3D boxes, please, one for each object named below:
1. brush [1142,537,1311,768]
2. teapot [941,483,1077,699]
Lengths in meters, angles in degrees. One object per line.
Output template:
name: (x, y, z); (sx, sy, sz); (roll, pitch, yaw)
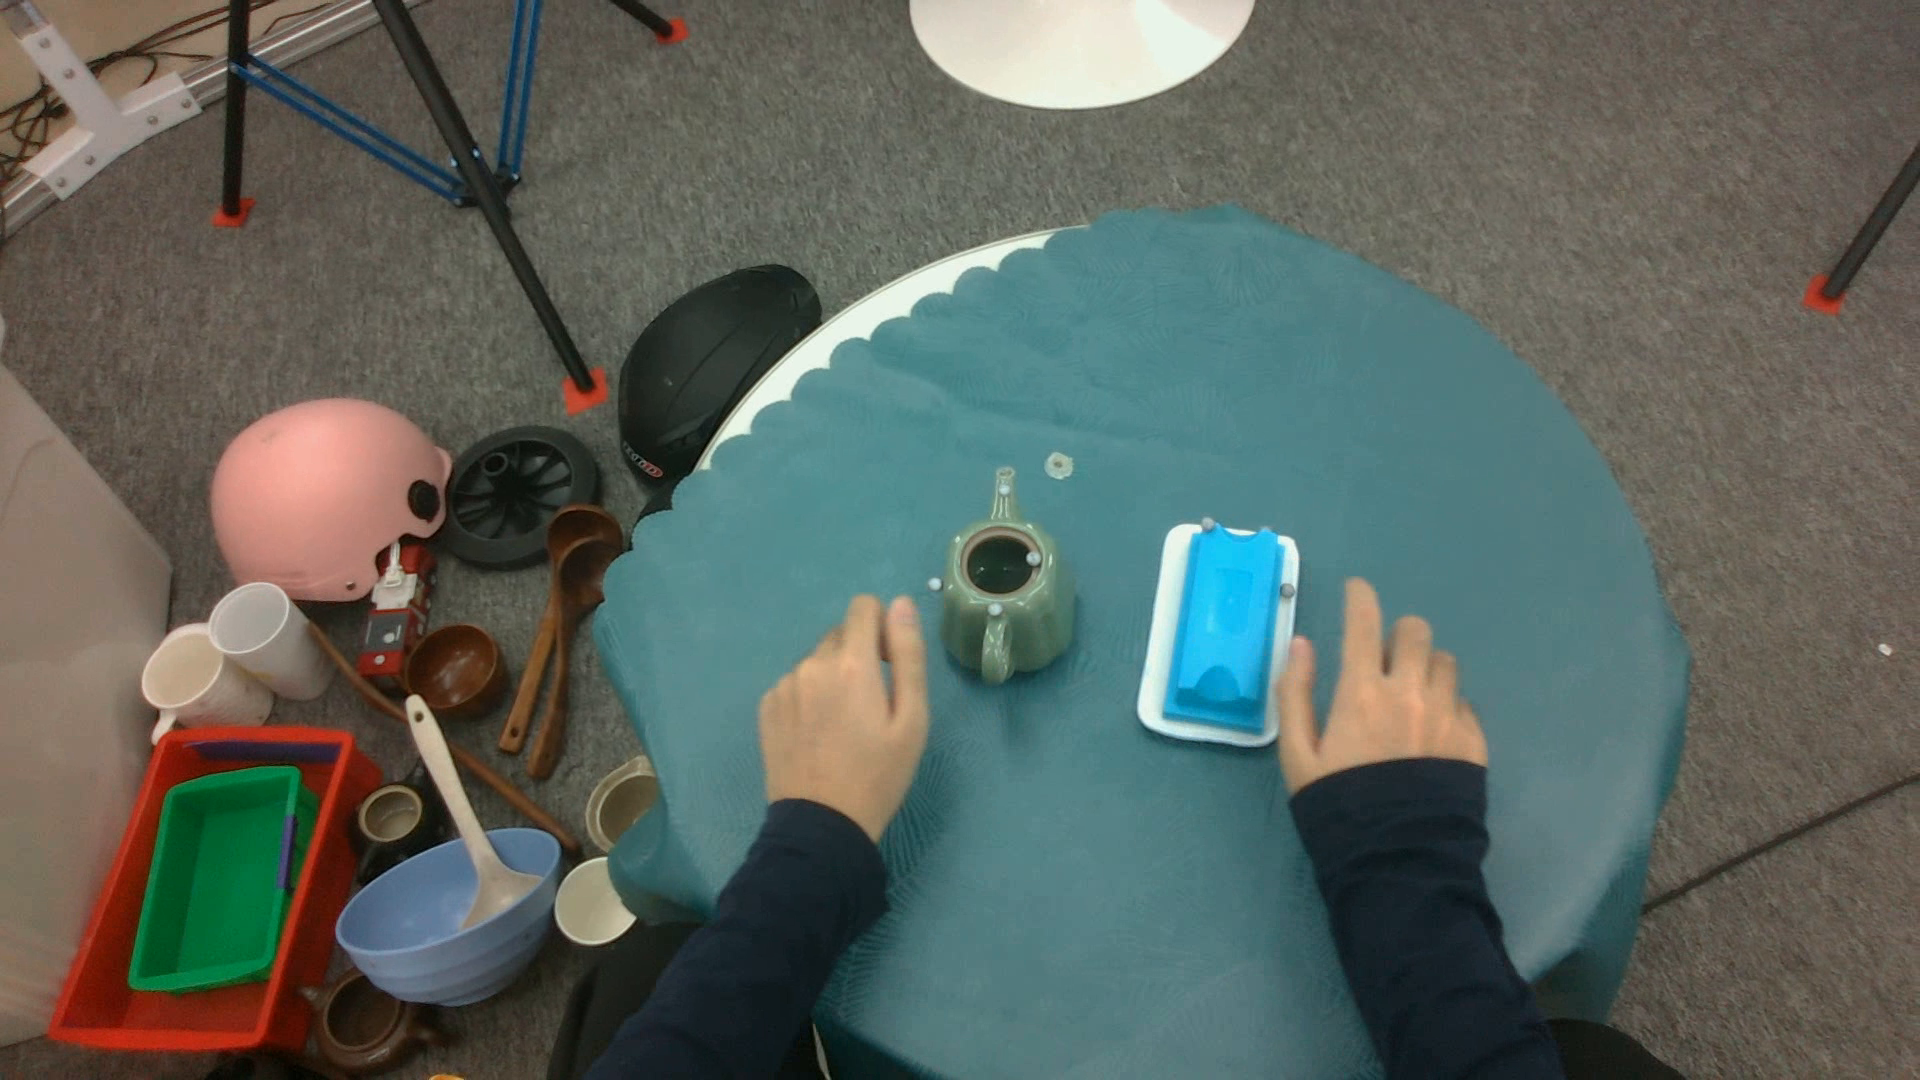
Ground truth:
brush: (0.153, 0.056, 0.783); (0.084, 0.055, 0.144); (7, 55, 15)
teapot: (0.027, 0.039, 0.802); (0.079, 0.075, 0.133); (1, 59, 7)
